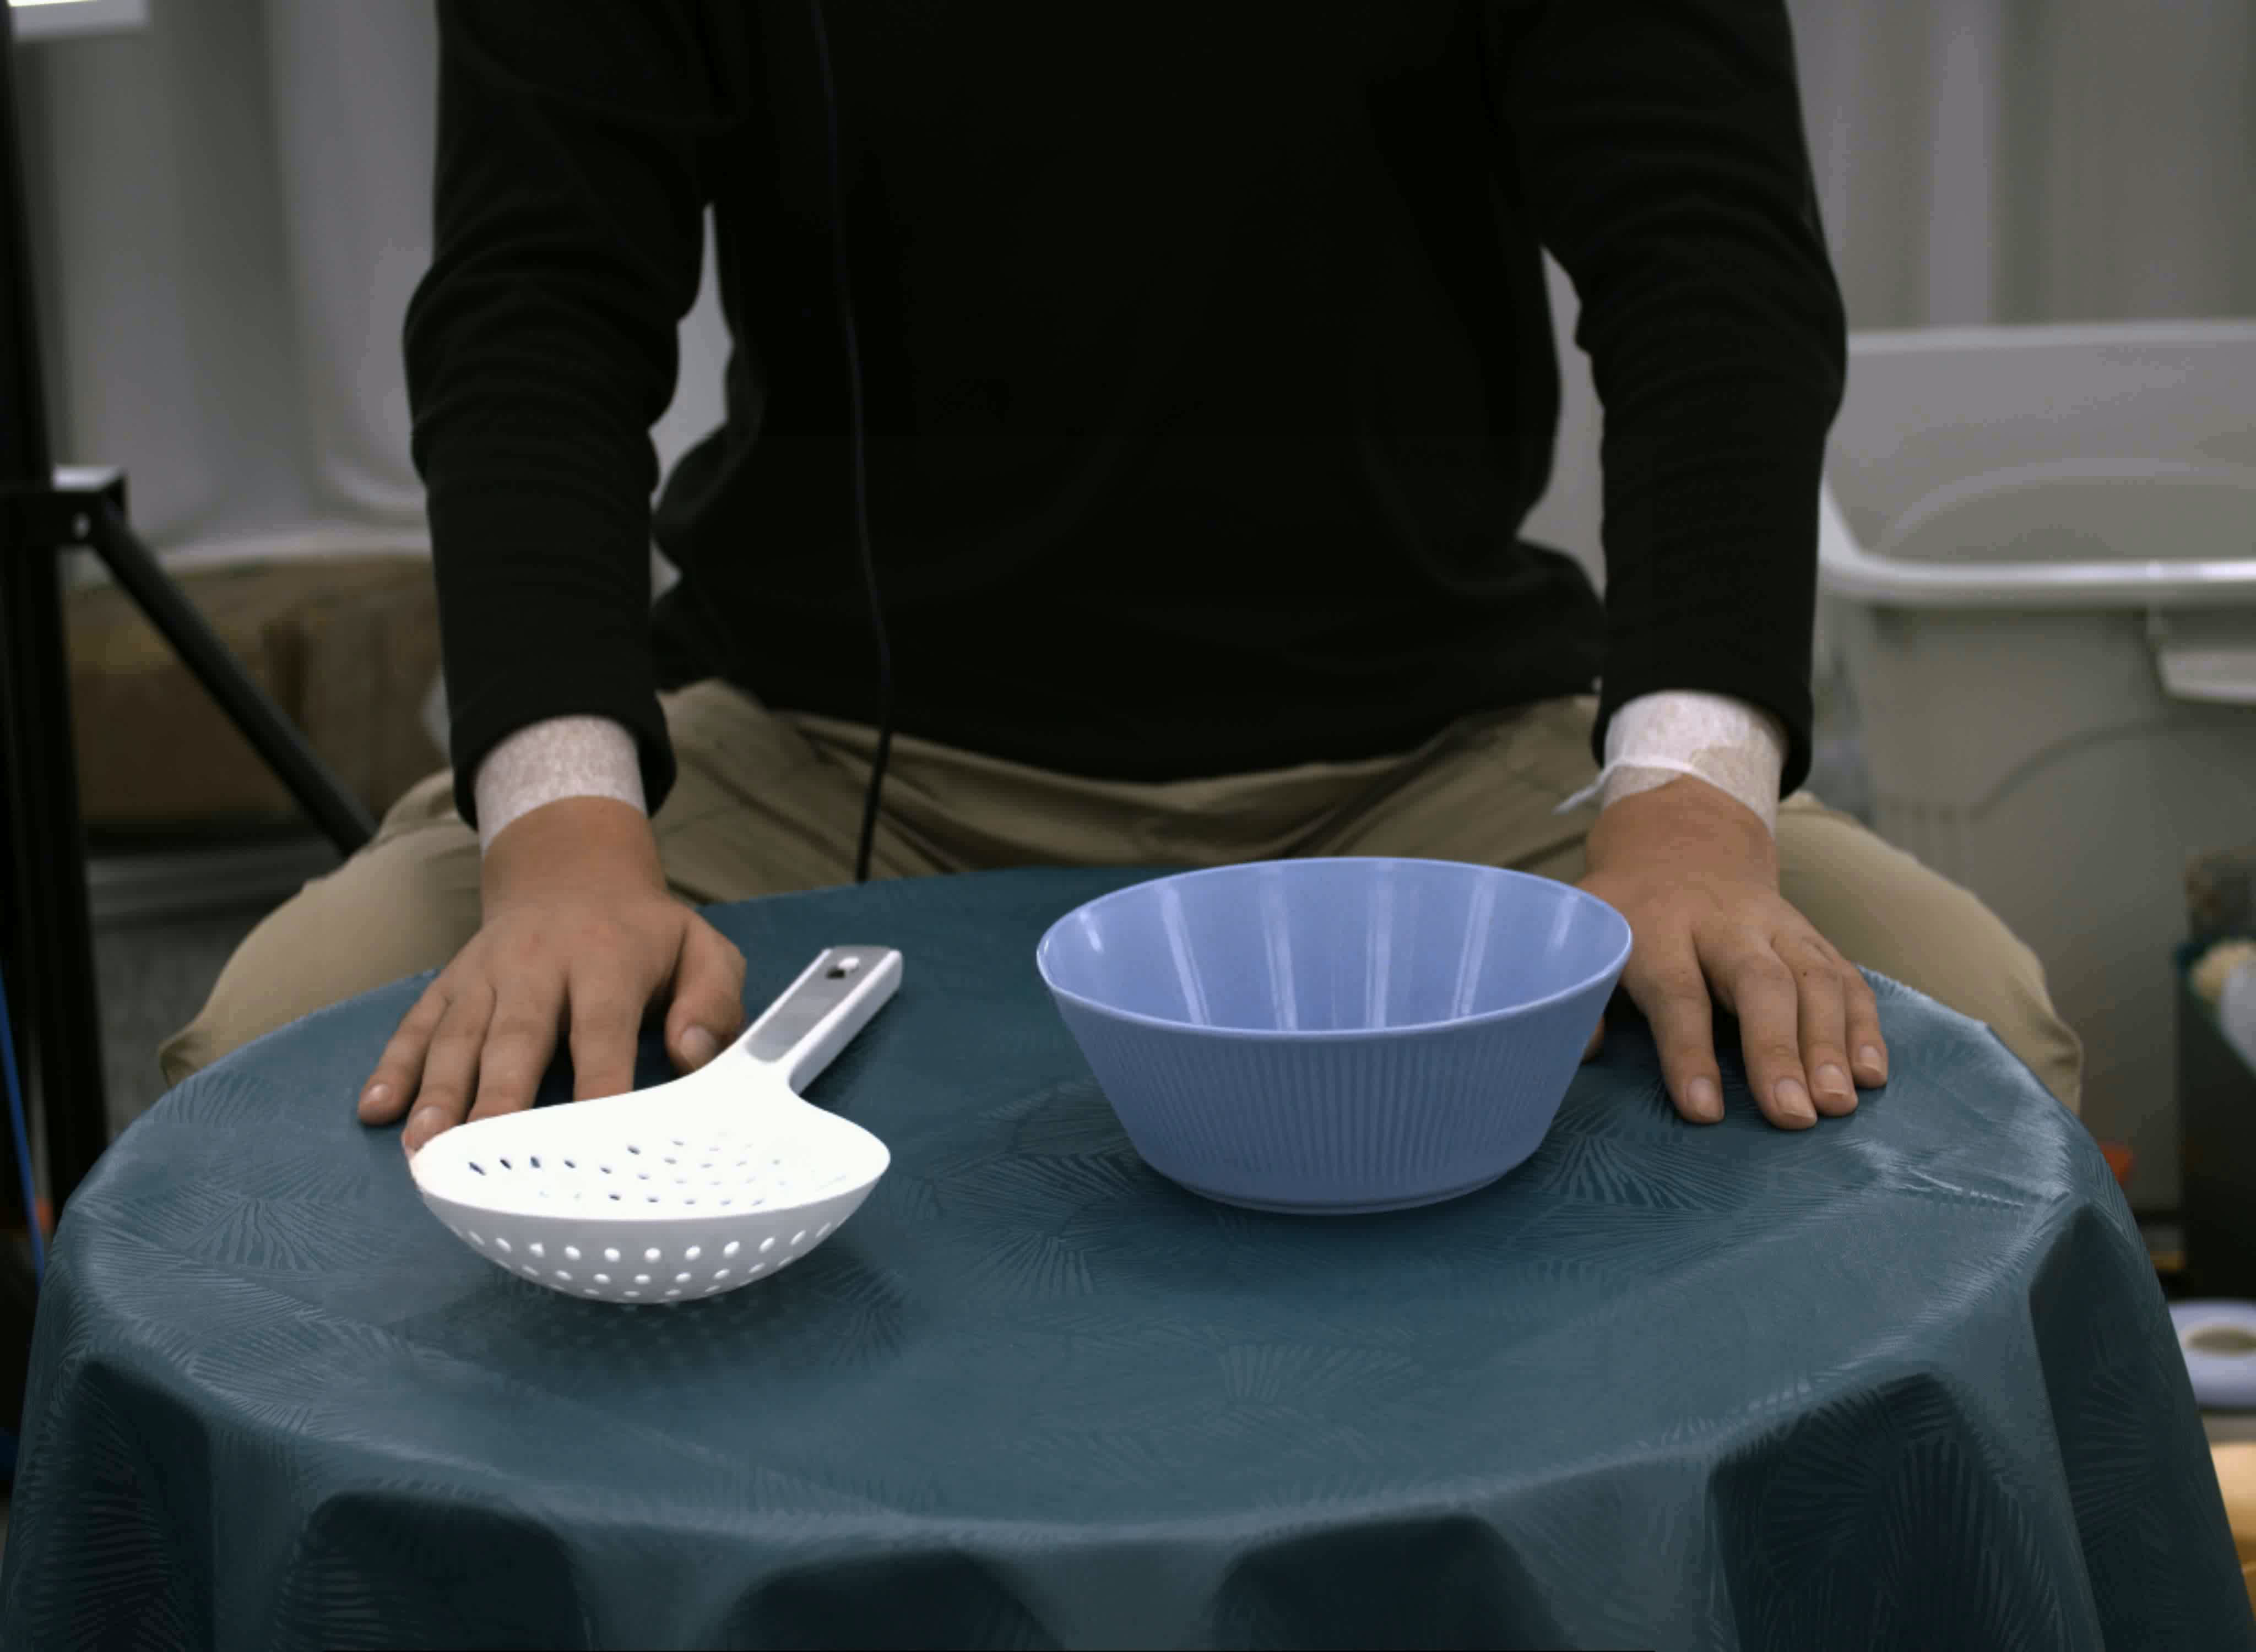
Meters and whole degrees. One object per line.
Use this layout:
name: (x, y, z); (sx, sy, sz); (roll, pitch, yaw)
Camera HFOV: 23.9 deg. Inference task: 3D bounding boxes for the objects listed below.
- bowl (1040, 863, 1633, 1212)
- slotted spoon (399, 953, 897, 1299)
bowl: (0.062, 0.065, 1.572); (0.175, 0.070, 0.177); (-3, 14, -1)
slotted spoon: (-0.118, 0.080, 1.593); (0.136, 0.046, 0.348); (0, 15, 10)
